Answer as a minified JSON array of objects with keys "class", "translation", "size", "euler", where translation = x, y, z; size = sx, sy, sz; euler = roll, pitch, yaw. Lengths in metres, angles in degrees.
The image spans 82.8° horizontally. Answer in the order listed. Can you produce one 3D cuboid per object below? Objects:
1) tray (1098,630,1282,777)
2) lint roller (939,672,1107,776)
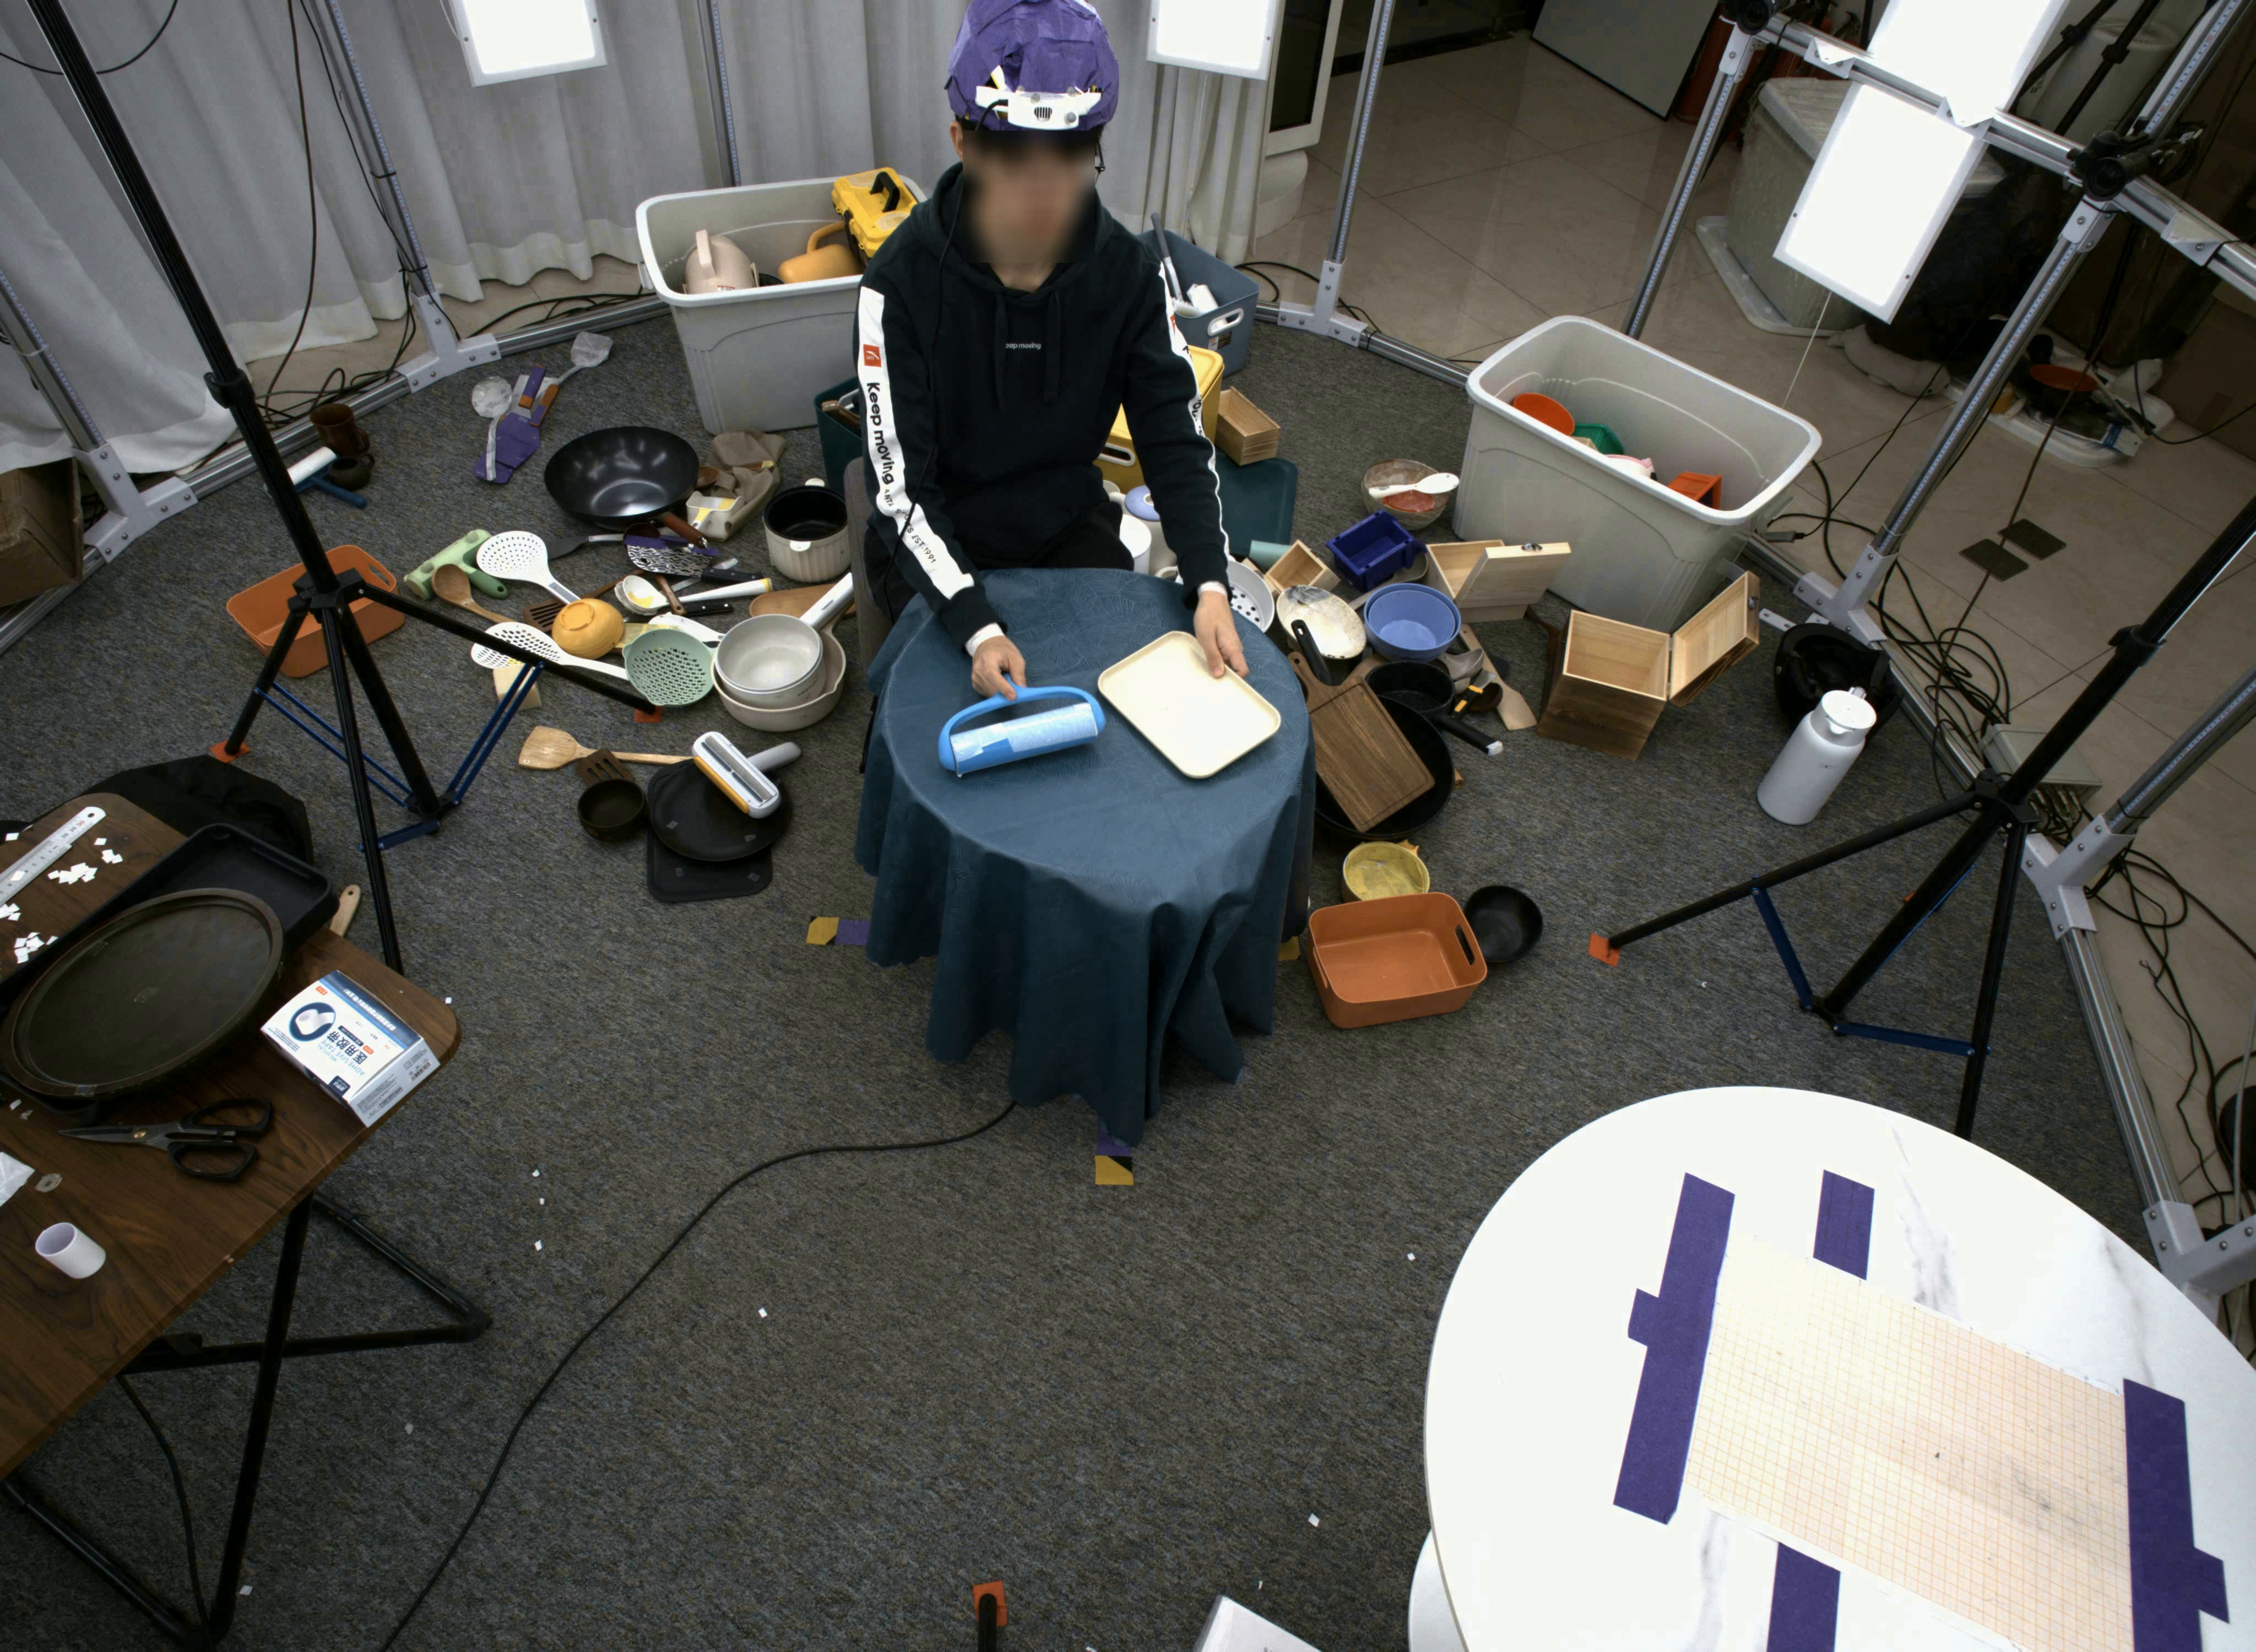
[{"class":"tray","translation":[0.085,-0.173,1.801],"size":[0.172,0.017,0.244],"euler":[-33,58,-19]},{"class":"lint roller","translation":[-0.159,-0.162,1.750],"size":[0.229,0.066,0.184],"euler":[-18,53,-10]}]
